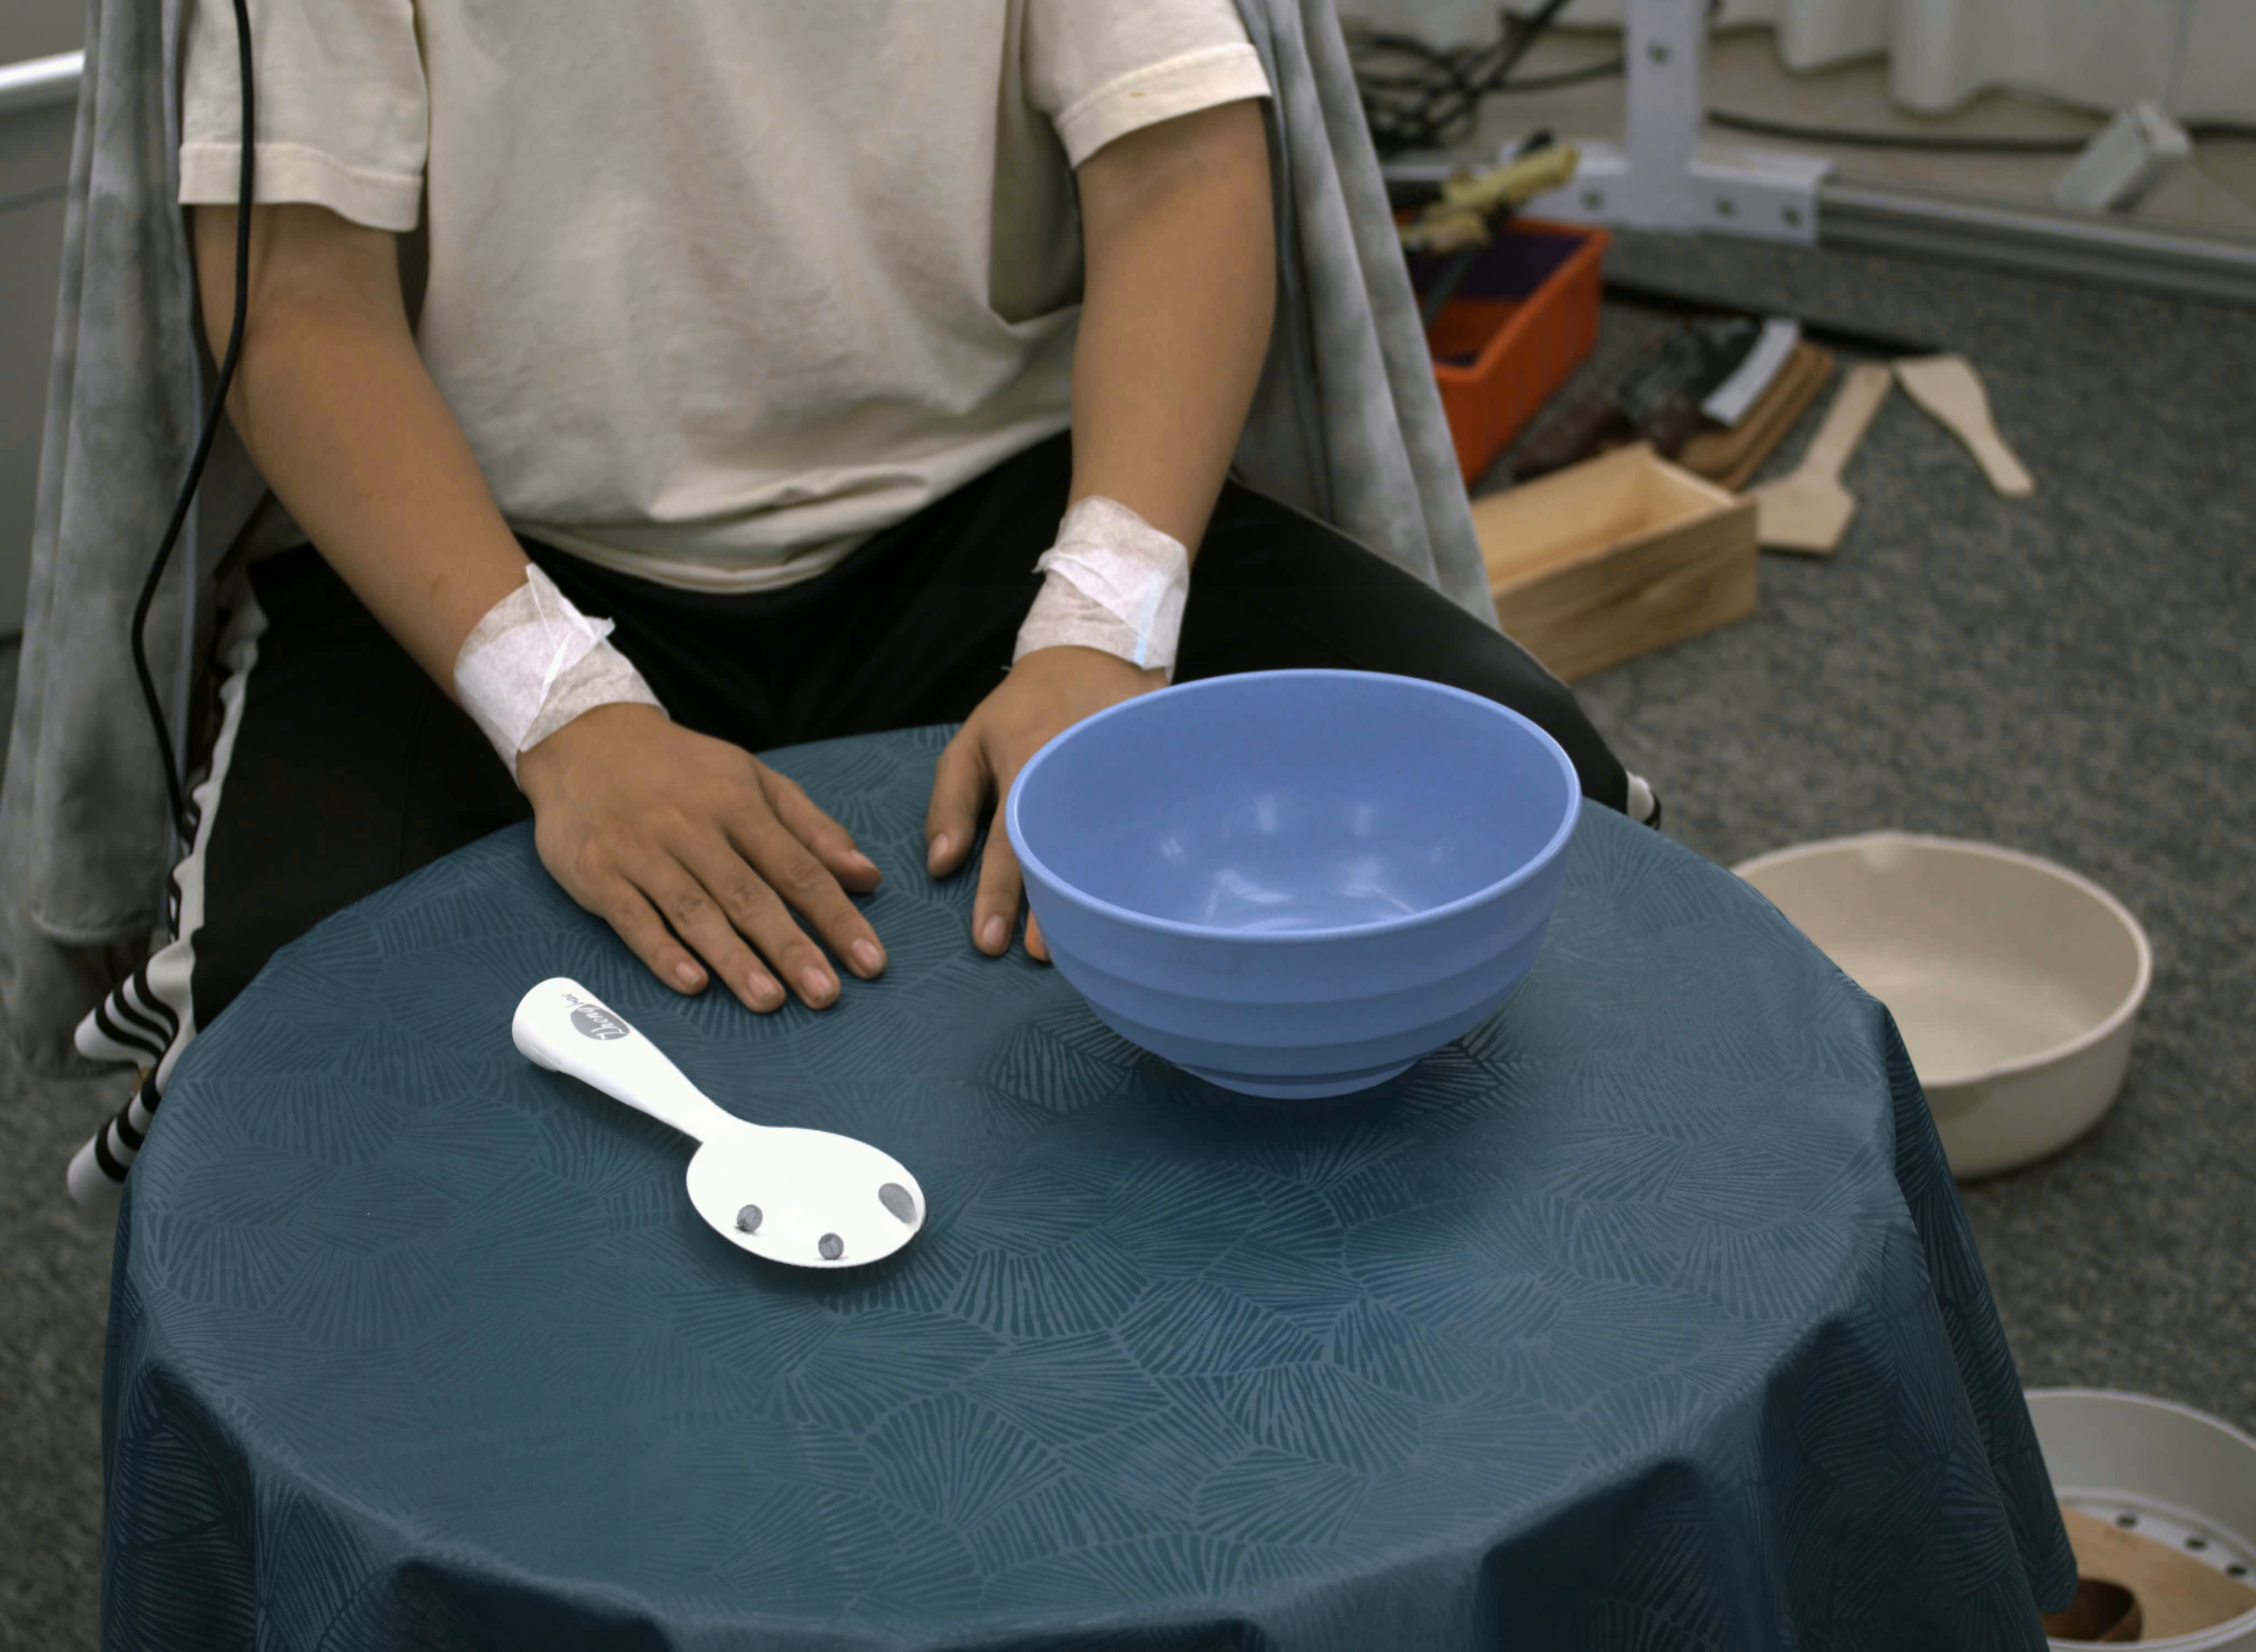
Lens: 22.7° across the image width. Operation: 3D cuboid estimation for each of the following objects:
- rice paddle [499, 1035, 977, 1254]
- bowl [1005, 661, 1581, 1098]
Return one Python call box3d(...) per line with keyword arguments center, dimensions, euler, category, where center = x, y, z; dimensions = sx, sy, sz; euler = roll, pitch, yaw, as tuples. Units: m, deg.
box3d(center=(-0.131, 0.109, 1.875), dimensions=(0.204, 0.029, 0.069), euler=(17, 20, 40), category="rice paddle")
box3d(center=(0.058, 0.029, 1.928), dimensions=(0.195, 0.094, 0.199), euler=(-3, 29, 2), category="bowl")
